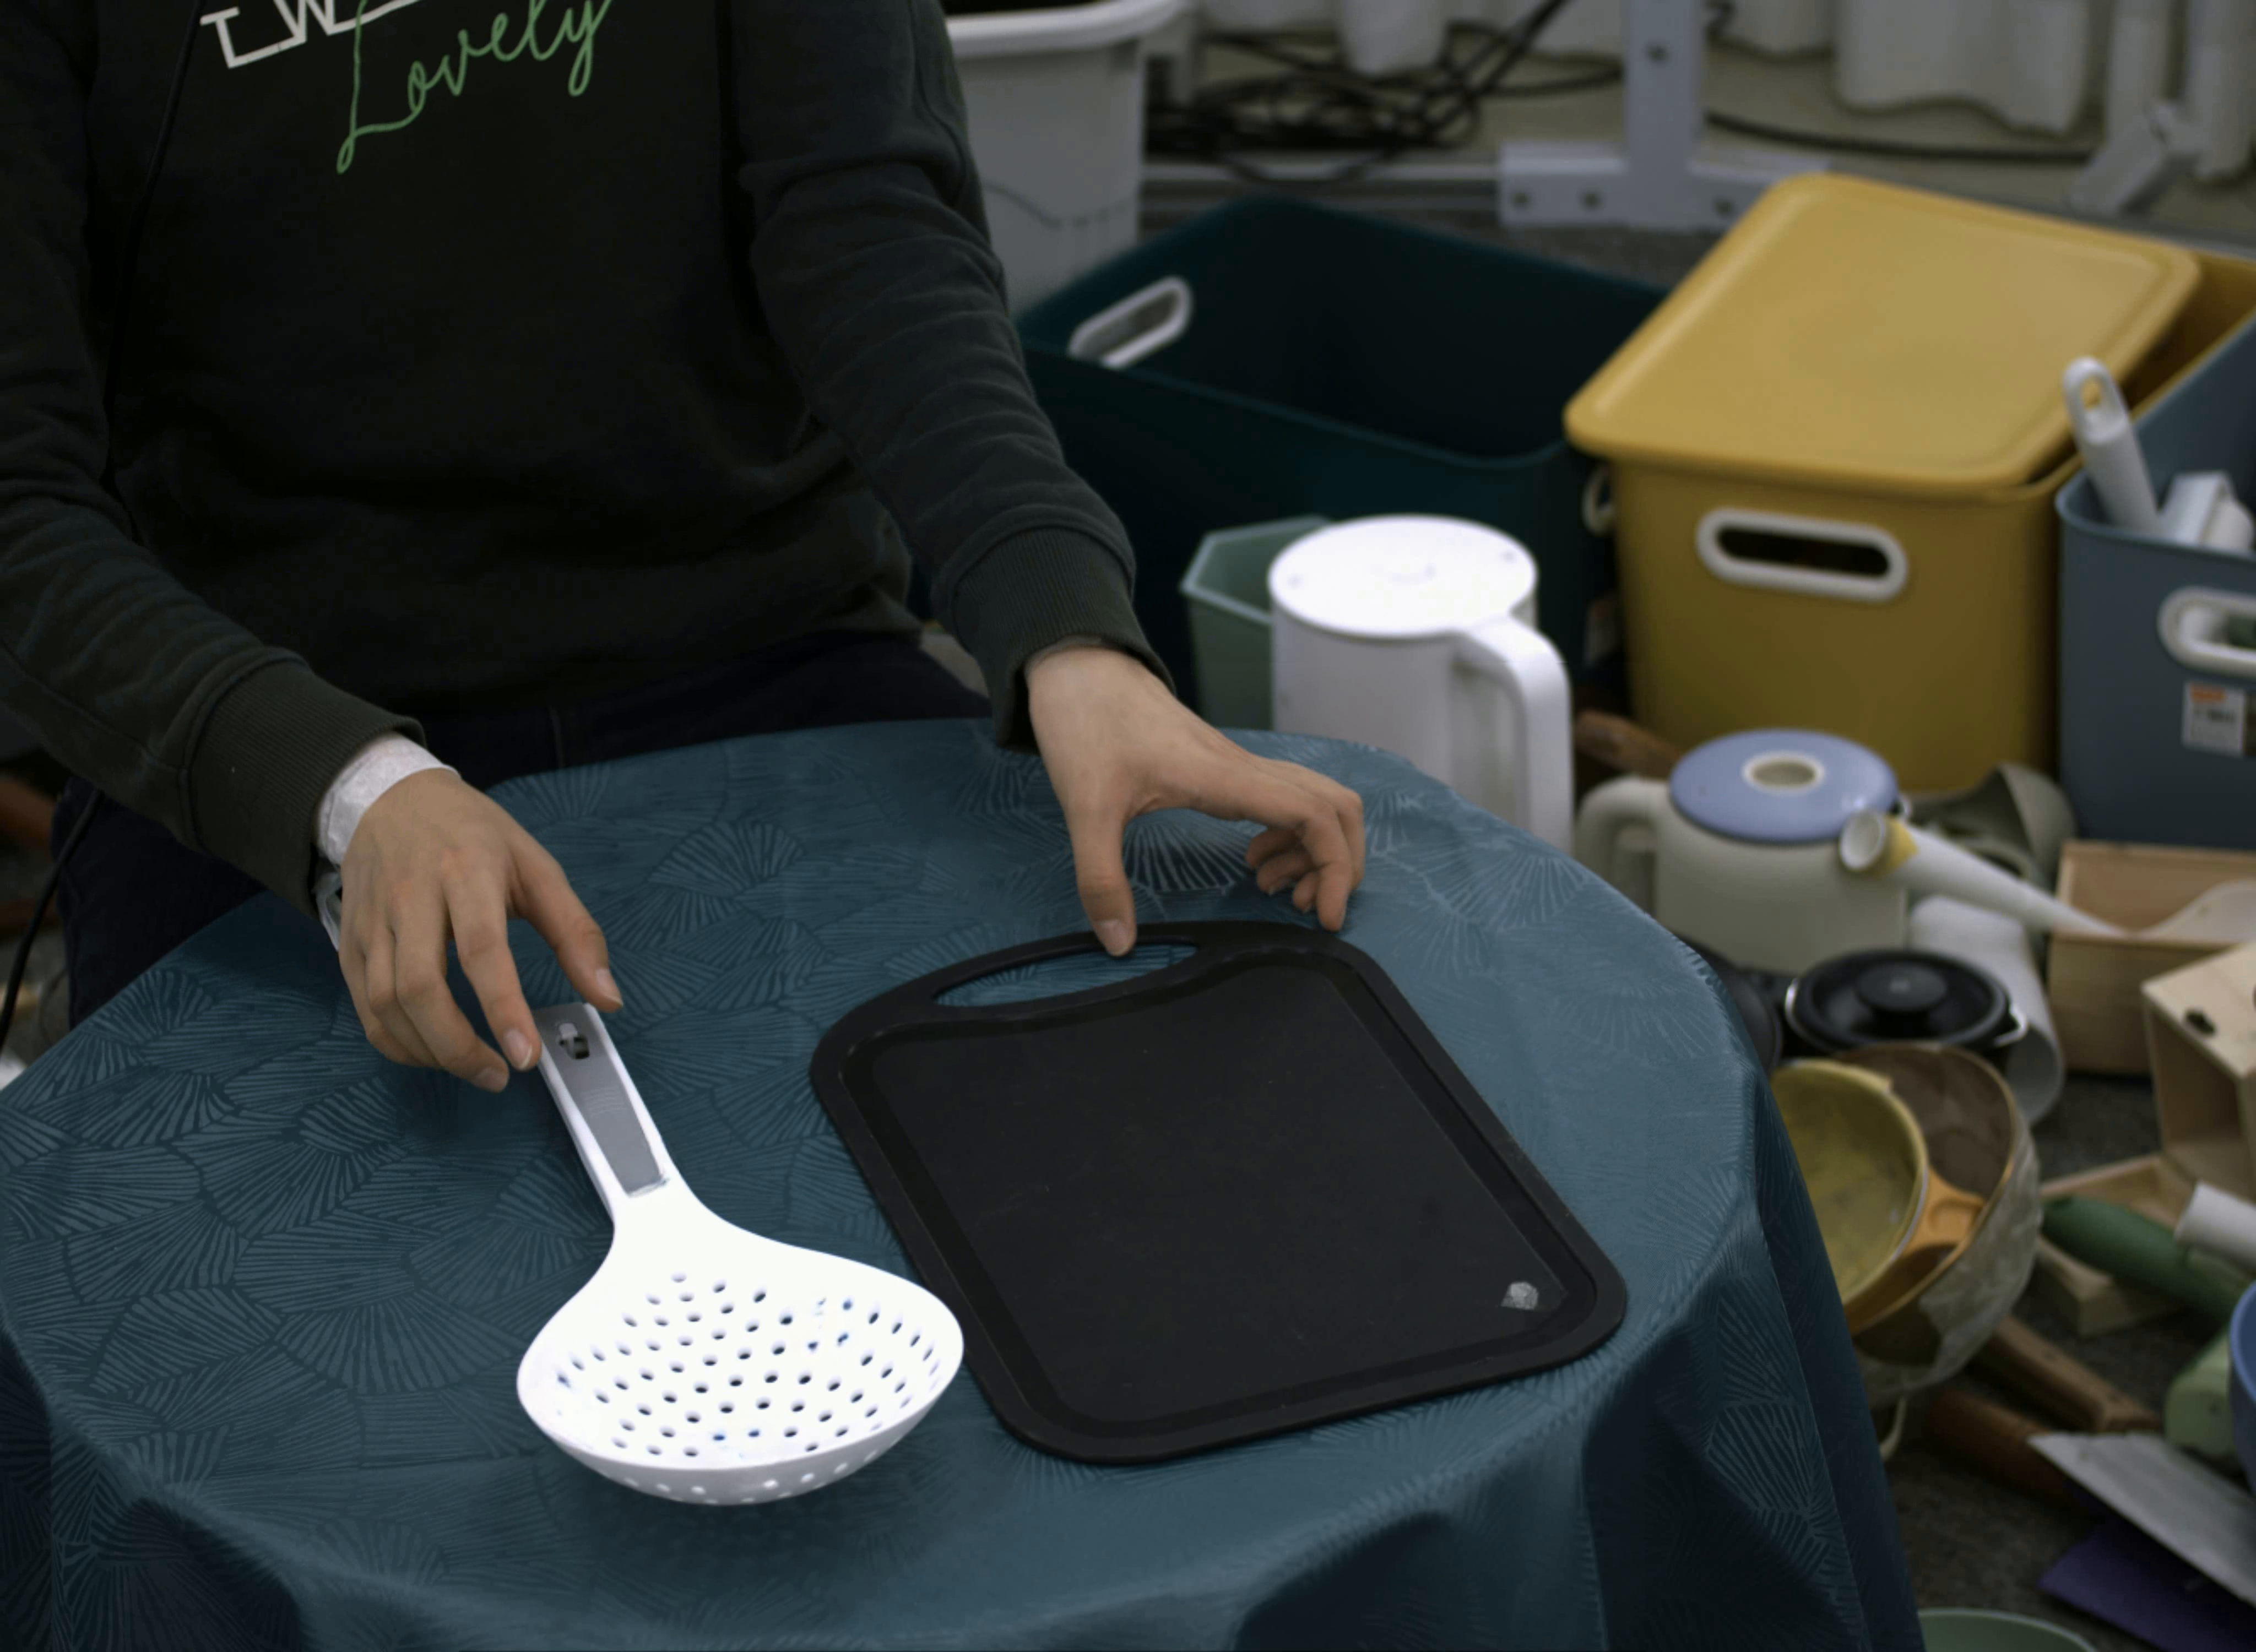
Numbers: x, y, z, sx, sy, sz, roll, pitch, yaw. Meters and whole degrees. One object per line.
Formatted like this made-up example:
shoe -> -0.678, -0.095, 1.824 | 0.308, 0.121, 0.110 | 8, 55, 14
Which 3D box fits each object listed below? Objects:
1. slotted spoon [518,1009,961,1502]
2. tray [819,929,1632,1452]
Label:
slotted spoon -> -0.149, 0.131, 1.808 | 0.136, 0.045, 0.353 | -8, 27, -15
tray -> 0.023, 0.112, 1.871 | 0.211, 0.009, 0.328 | -10, 28, -15
